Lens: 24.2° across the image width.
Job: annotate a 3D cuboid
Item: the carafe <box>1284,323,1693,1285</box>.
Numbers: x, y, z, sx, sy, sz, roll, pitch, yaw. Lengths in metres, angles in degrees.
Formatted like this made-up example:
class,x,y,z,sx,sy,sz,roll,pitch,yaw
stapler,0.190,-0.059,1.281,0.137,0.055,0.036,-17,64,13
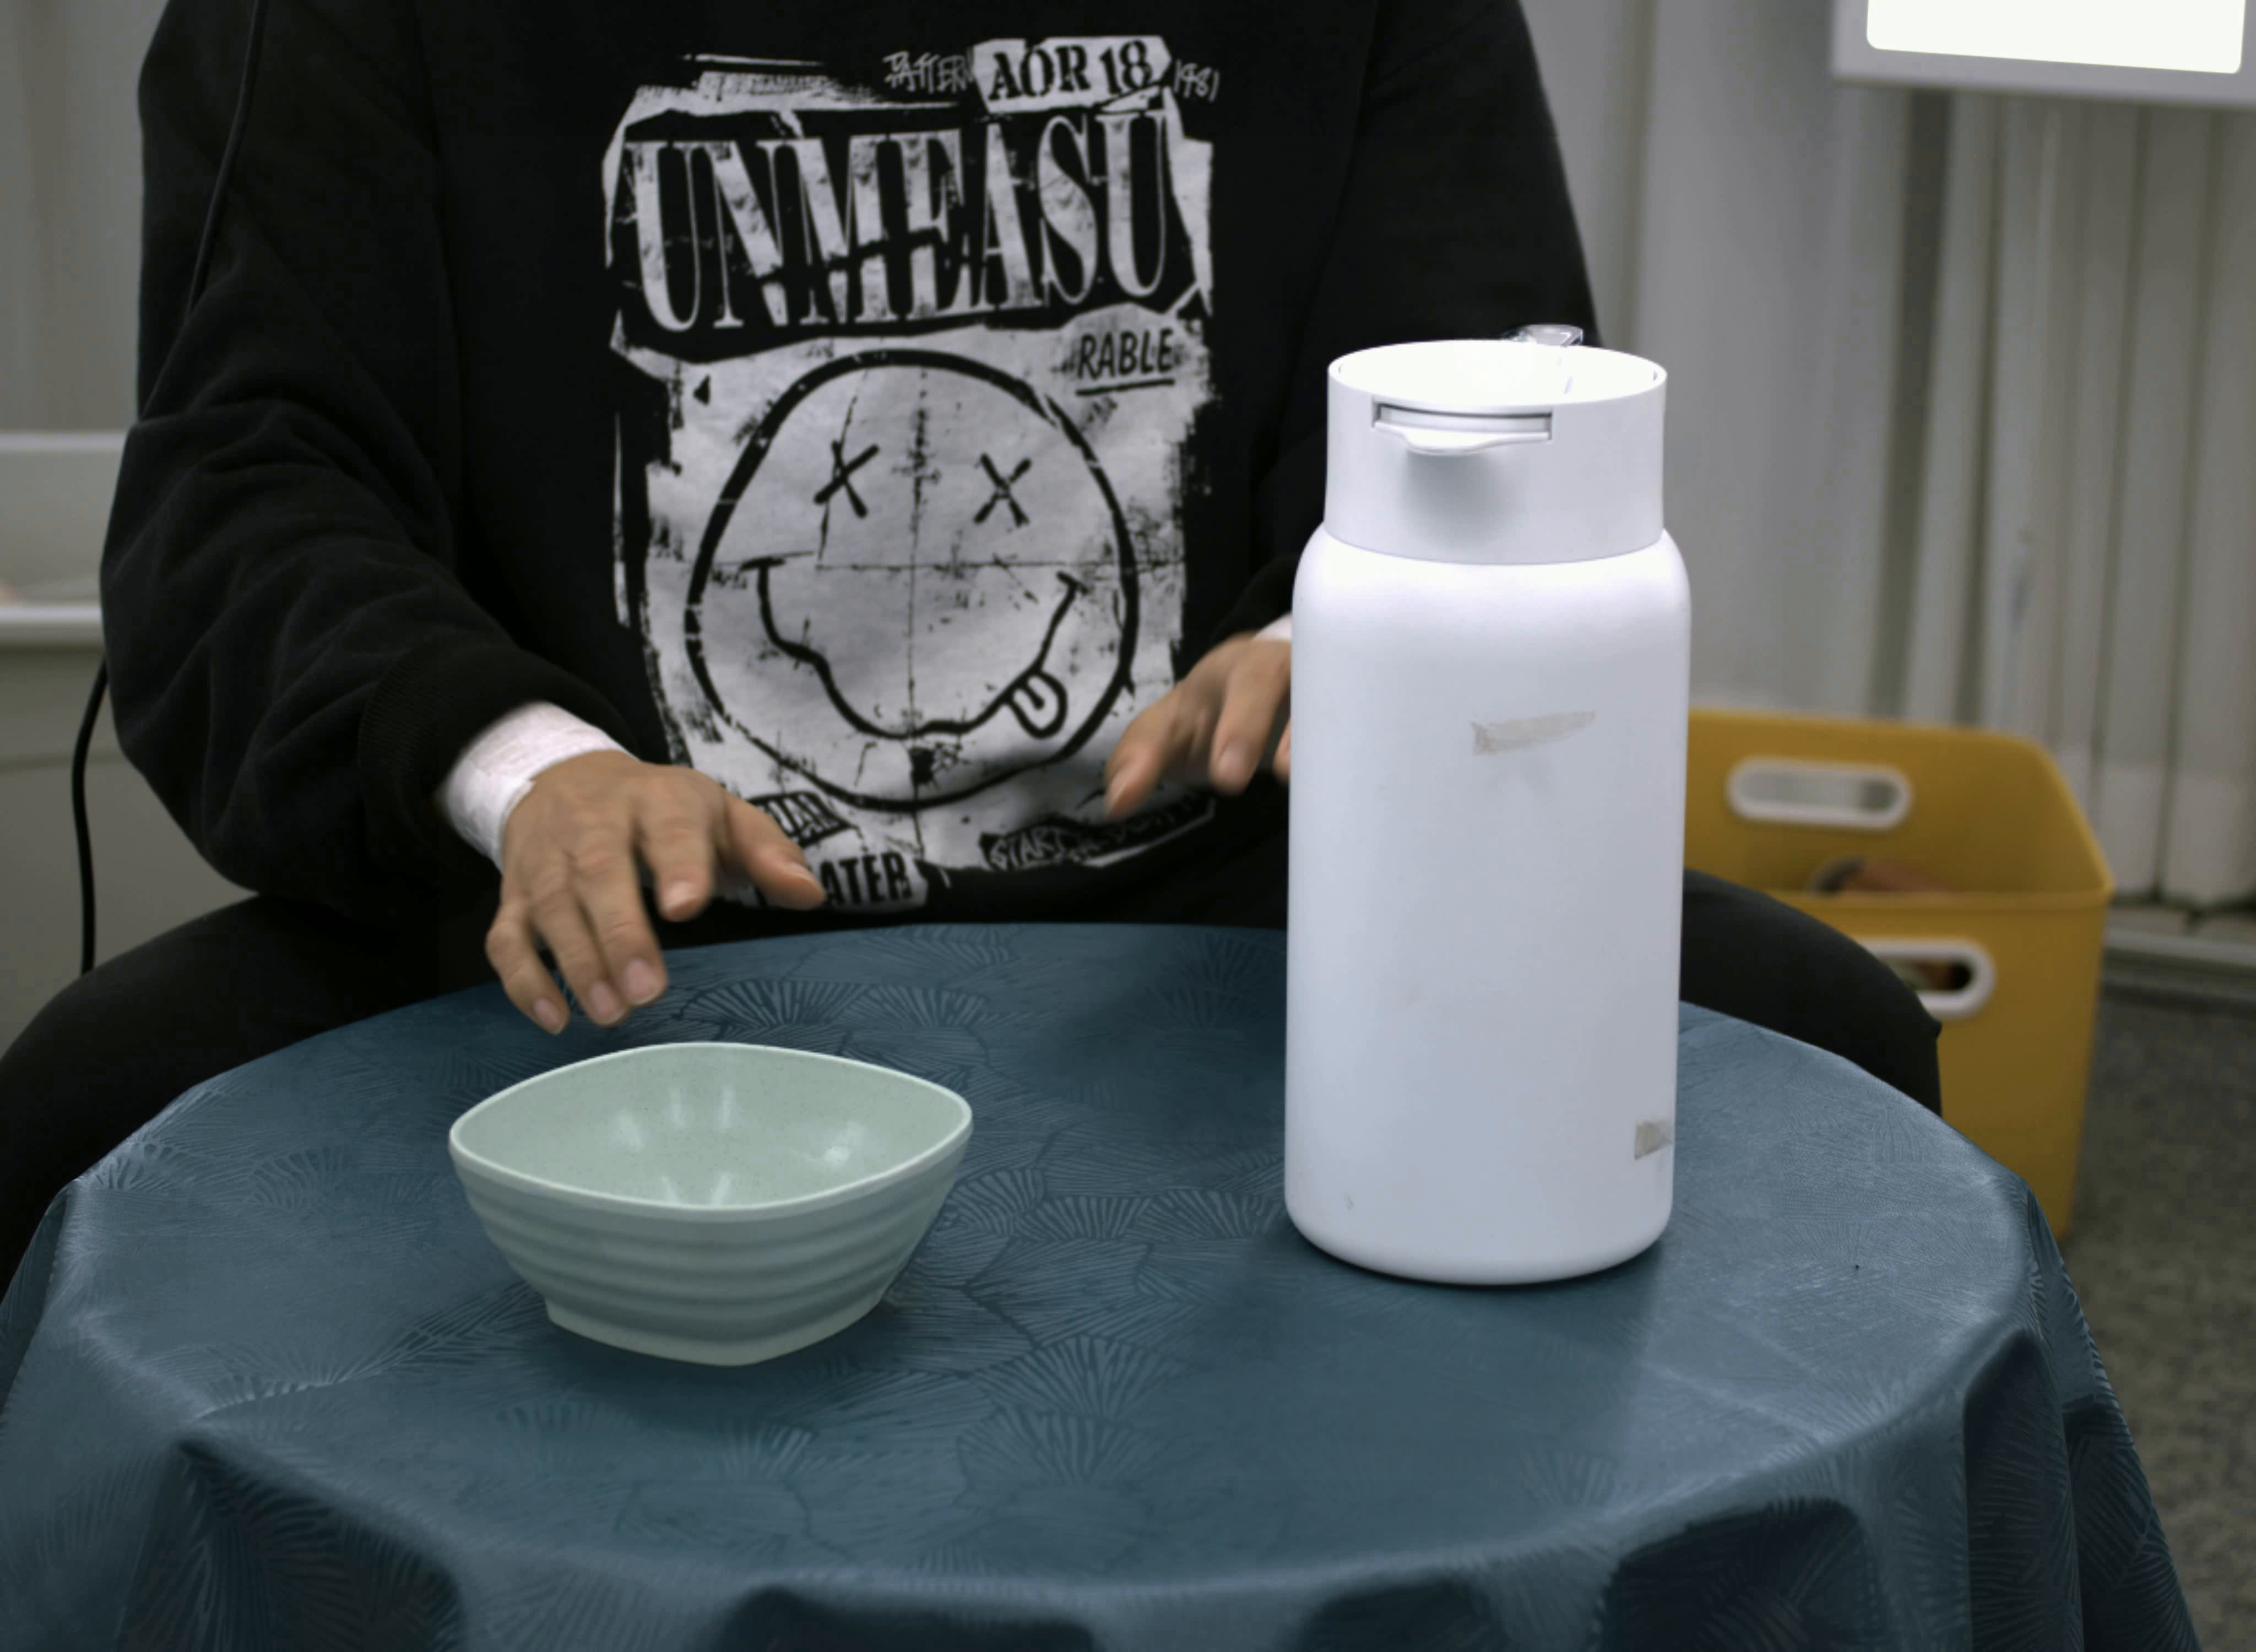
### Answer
class,x,y,z,sx,sy,sz,roll,pitch,yaw
carafe,0.110,-0.011,1.570,0.123,0.271,0.173,3,16,16

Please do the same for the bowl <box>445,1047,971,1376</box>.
class,x,y,z,sx,sy,sz,roll,pitch,yaw
bowl,-0.120,0.114,1.515,0.151,0.059,0.150,1,16,0
